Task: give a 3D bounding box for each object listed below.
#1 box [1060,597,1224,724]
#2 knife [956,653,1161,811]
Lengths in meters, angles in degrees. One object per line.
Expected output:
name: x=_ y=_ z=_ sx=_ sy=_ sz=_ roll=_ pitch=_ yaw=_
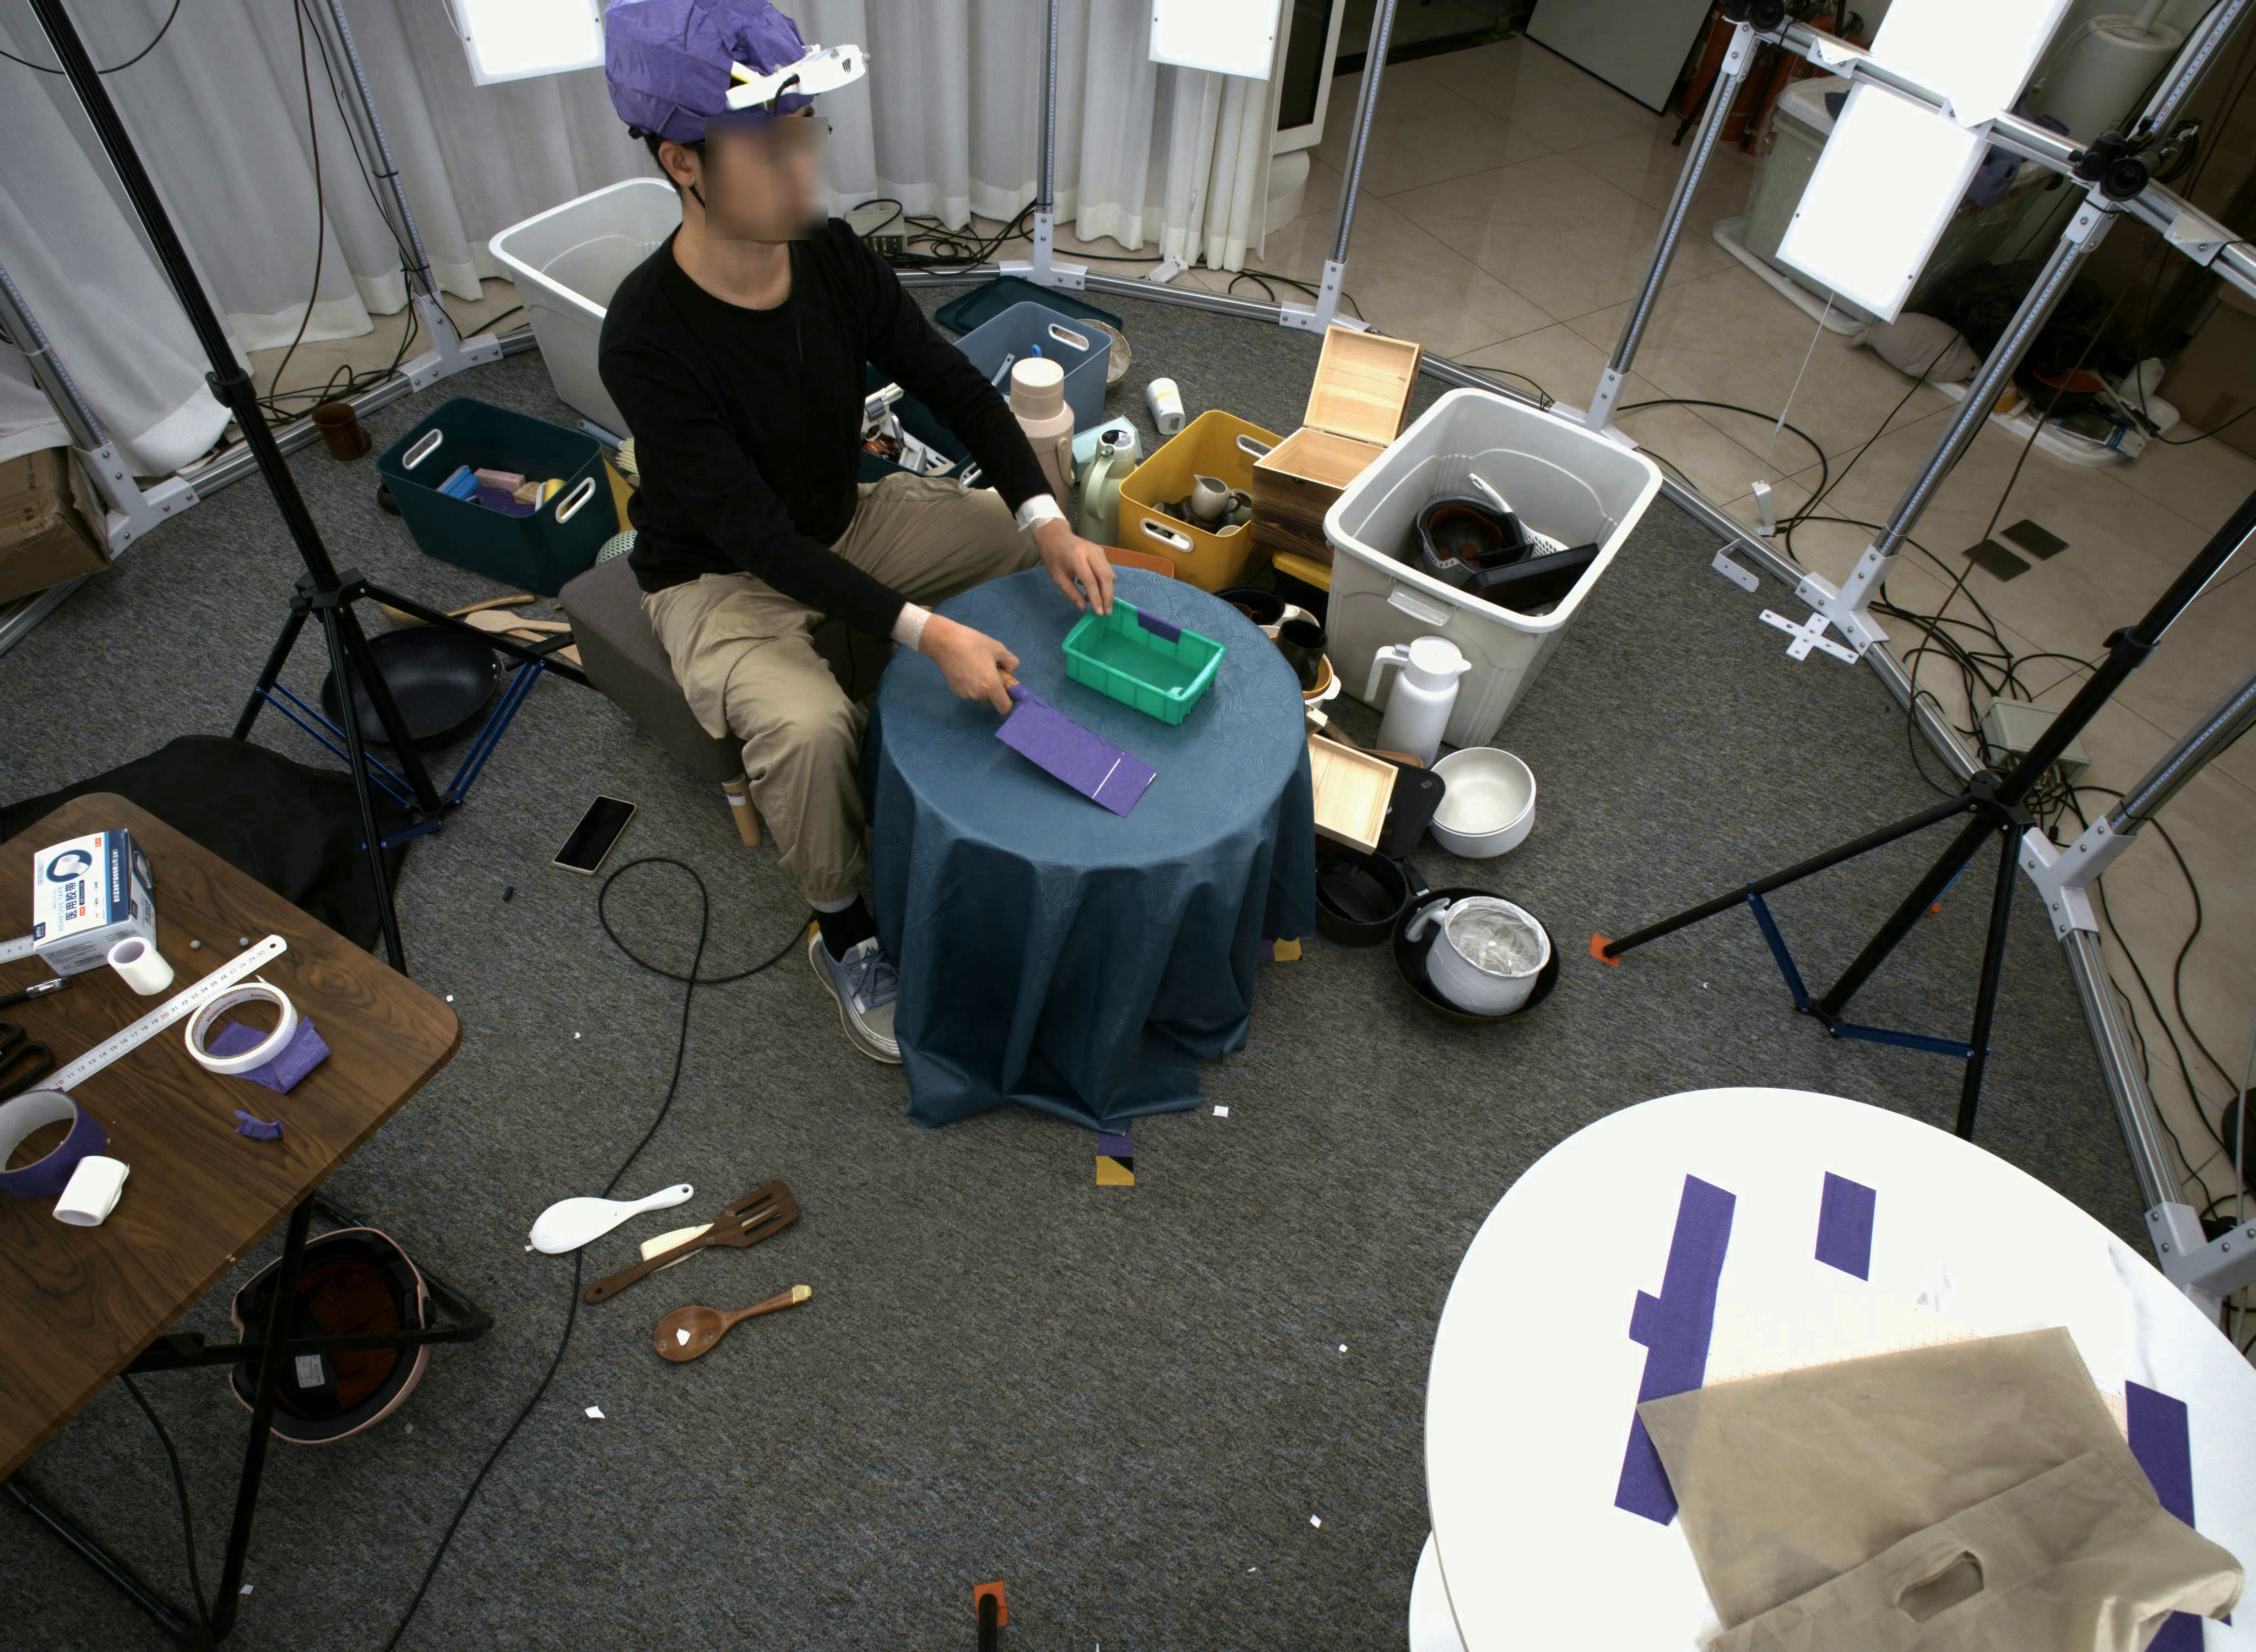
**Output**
box: x=0.019 y=-0.235 z=1.835 sx=0.212 sy=0.064 sz=0.141 roll=24 pitch=50 yaw=18
knife: x=-0.109 y=-0.127 z=1.724 sx=0.317 sy=0.031 sz=0.105 roll=31 pitch=55 yaw=9
